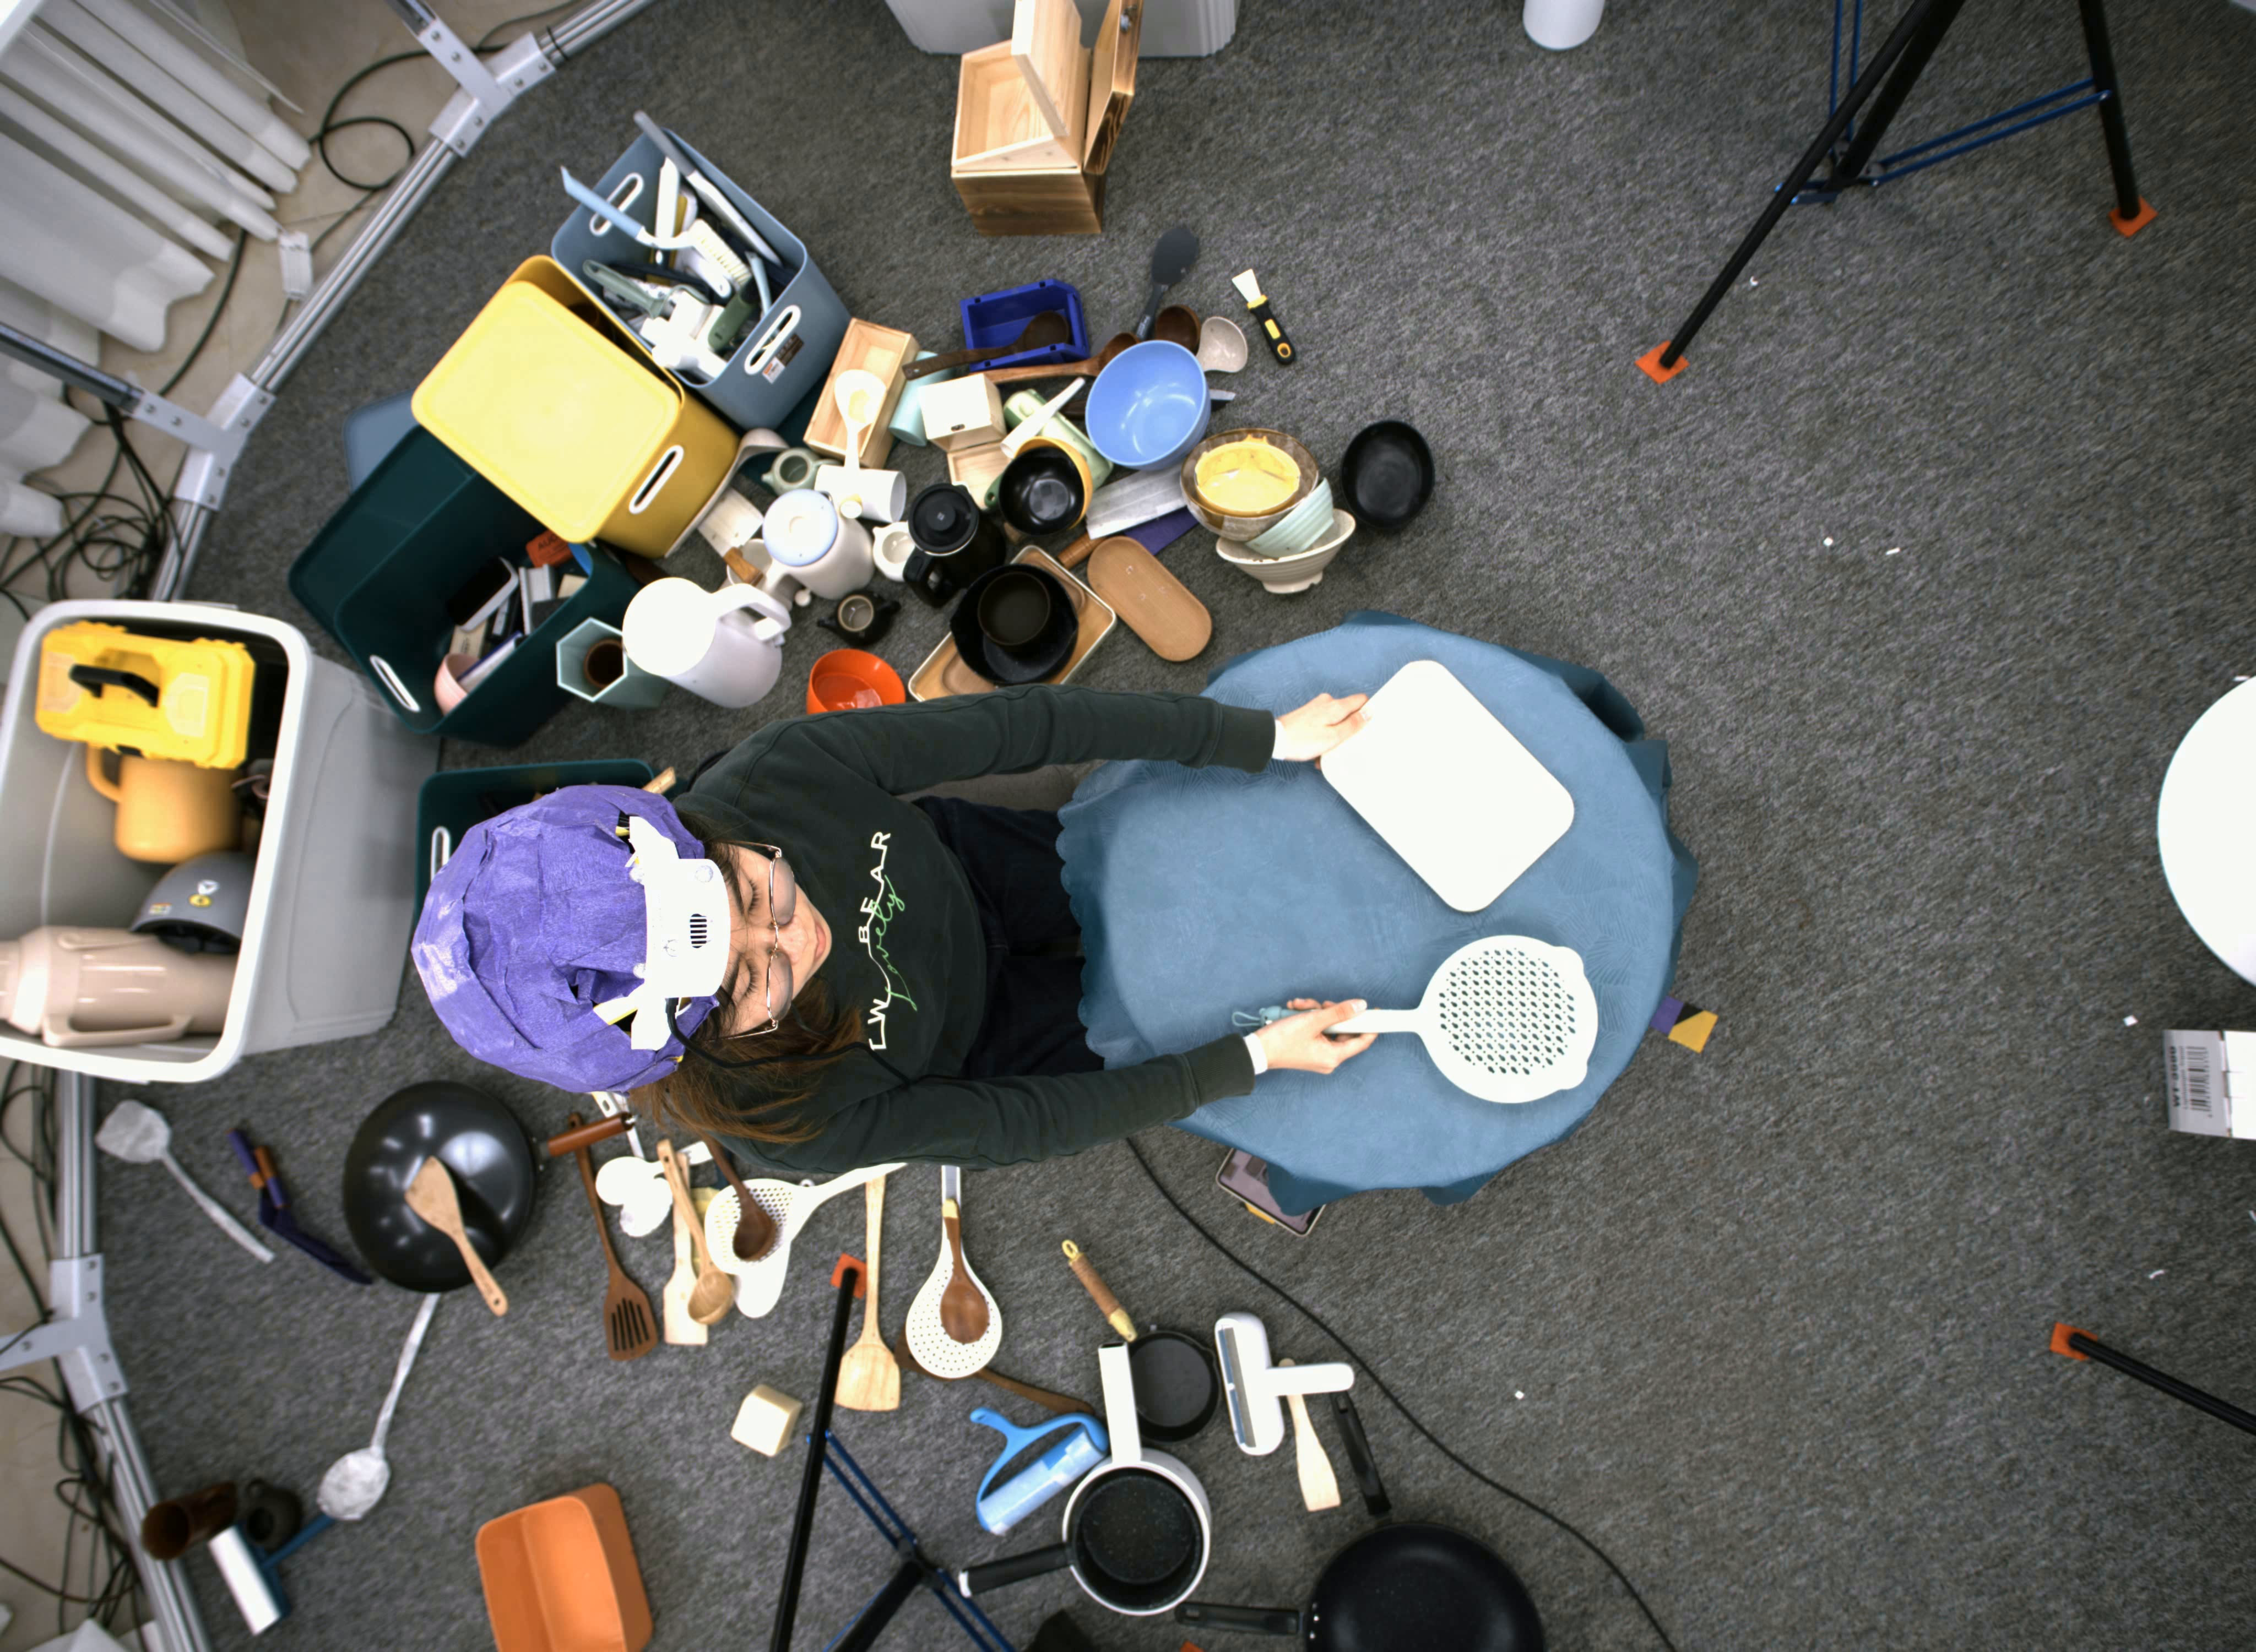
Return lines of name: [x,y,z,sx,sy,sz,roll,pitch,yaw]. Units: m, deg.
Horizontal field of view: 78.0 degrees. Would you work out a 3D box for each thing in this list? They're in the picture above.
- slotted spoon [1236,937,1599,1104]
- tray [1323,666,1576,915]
slotted spoon: [0.290,0.197,1.411,0.360,0.075,0.170,-3,94,6]
tray: [0.335,-0.039,1.441,0.172,0.017,0.239,-44,85,5]
